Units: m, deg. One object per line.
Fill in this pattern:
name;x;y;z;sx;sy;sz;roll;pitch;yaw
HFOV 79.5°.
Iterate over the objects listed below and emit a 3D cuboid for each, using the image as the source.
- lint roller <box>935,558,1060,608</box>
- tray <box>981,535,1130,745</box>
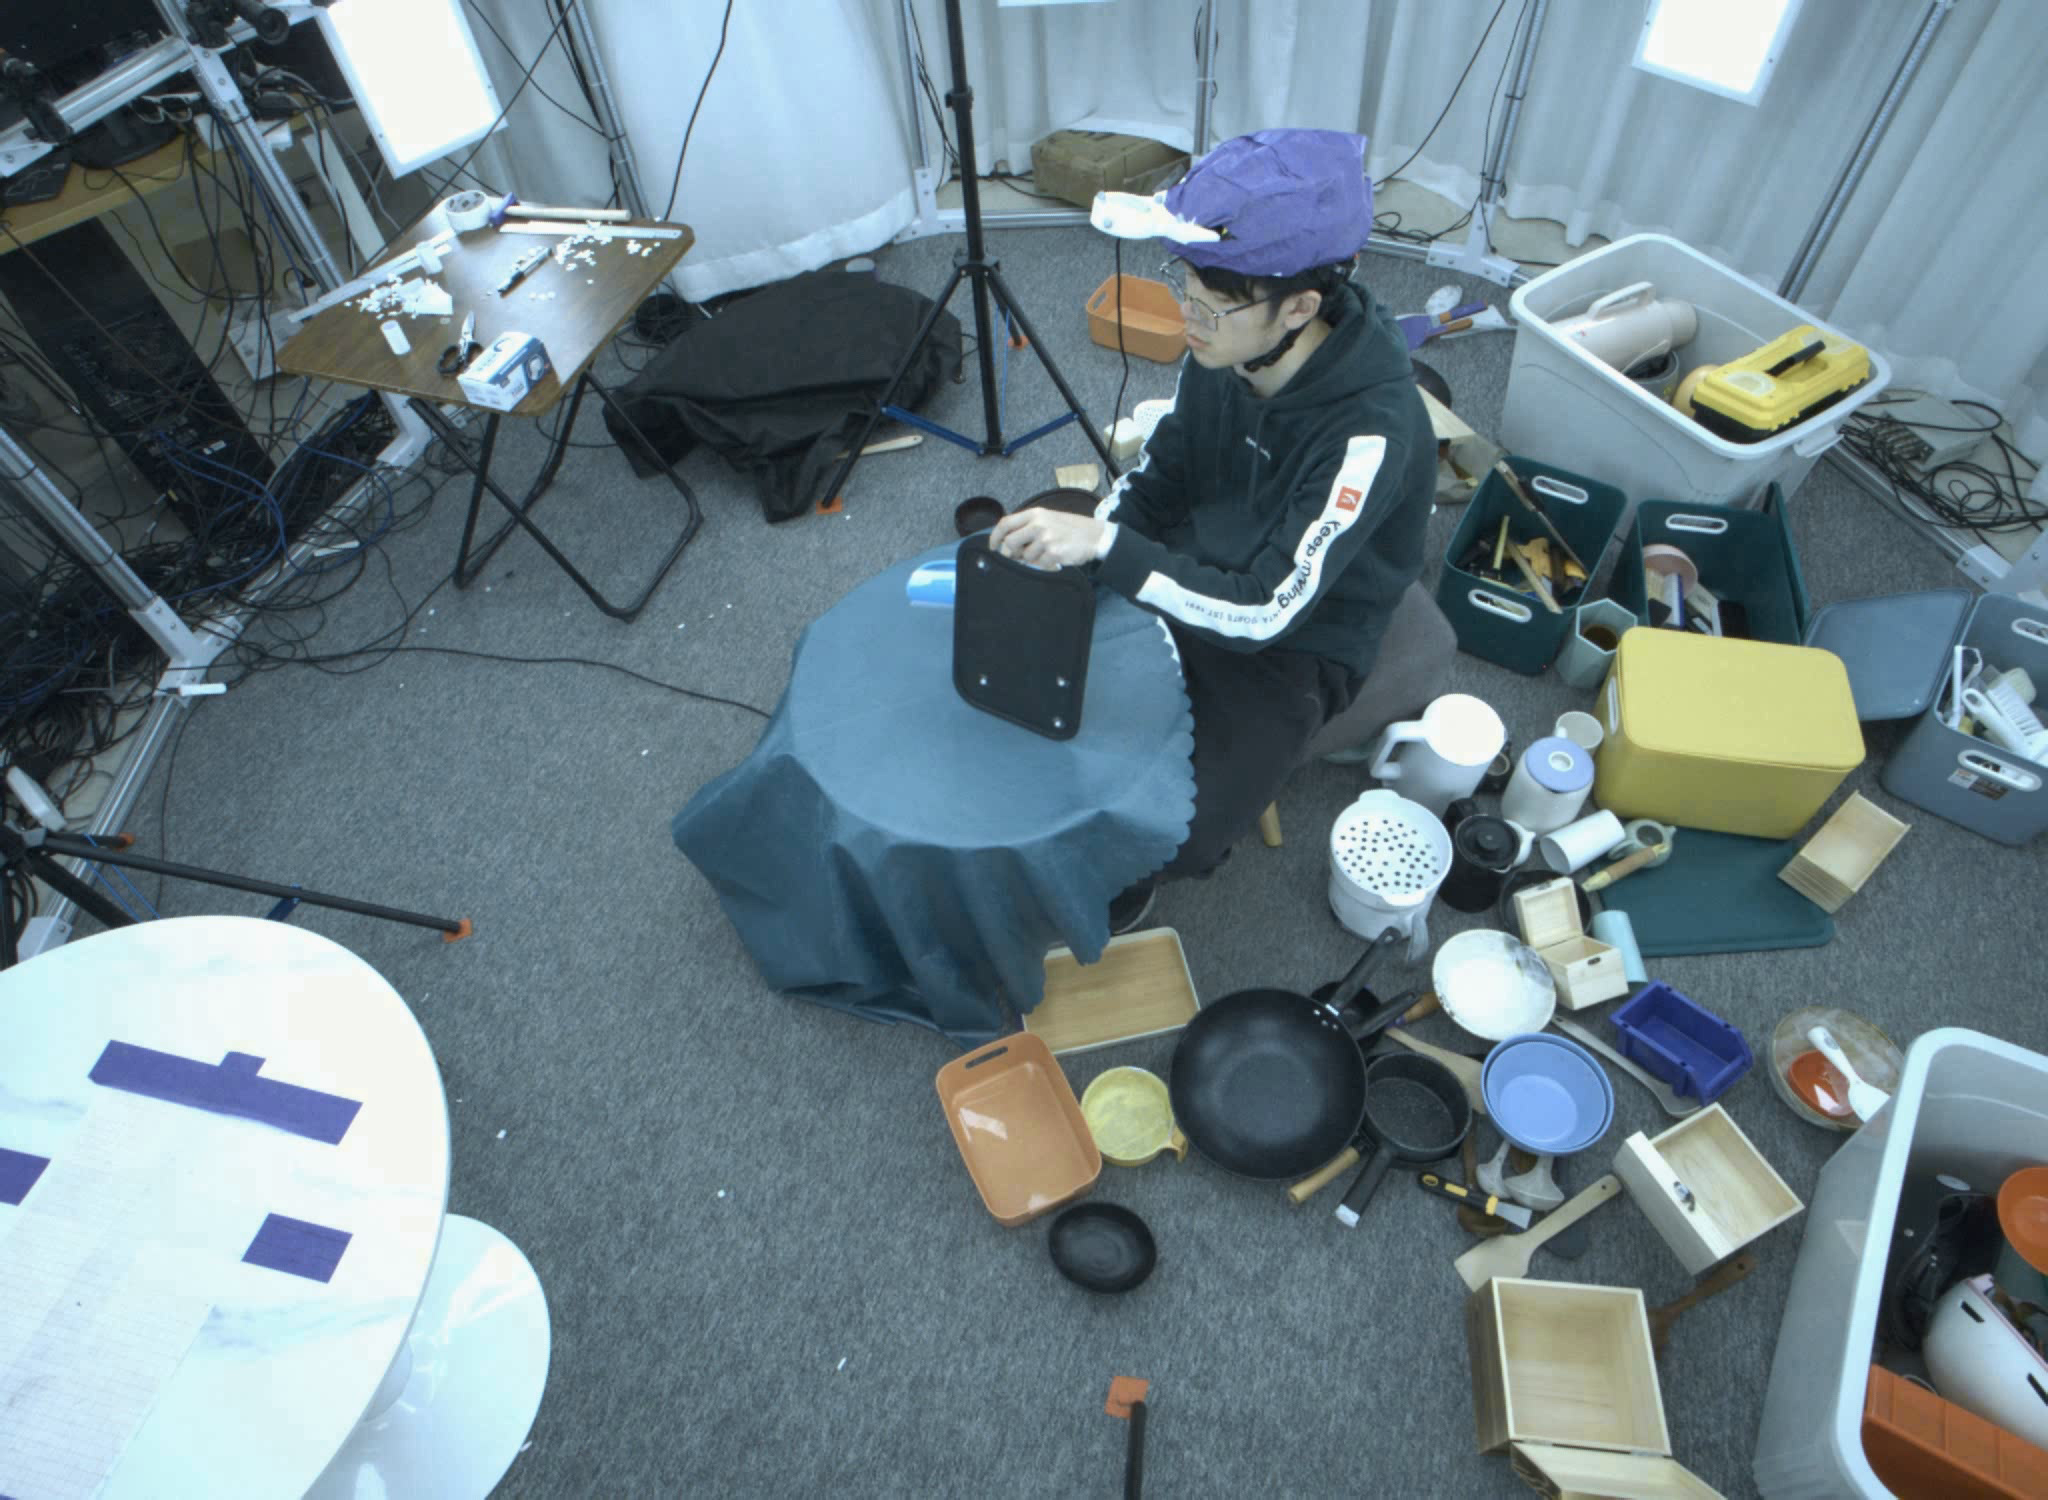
lint roller;0.003;-0.244;1.755;0.225;0.068;0.182;5;18;28
tray;0.036;-0.149;1.688;0.208;0.328;0.010;24;47;16
